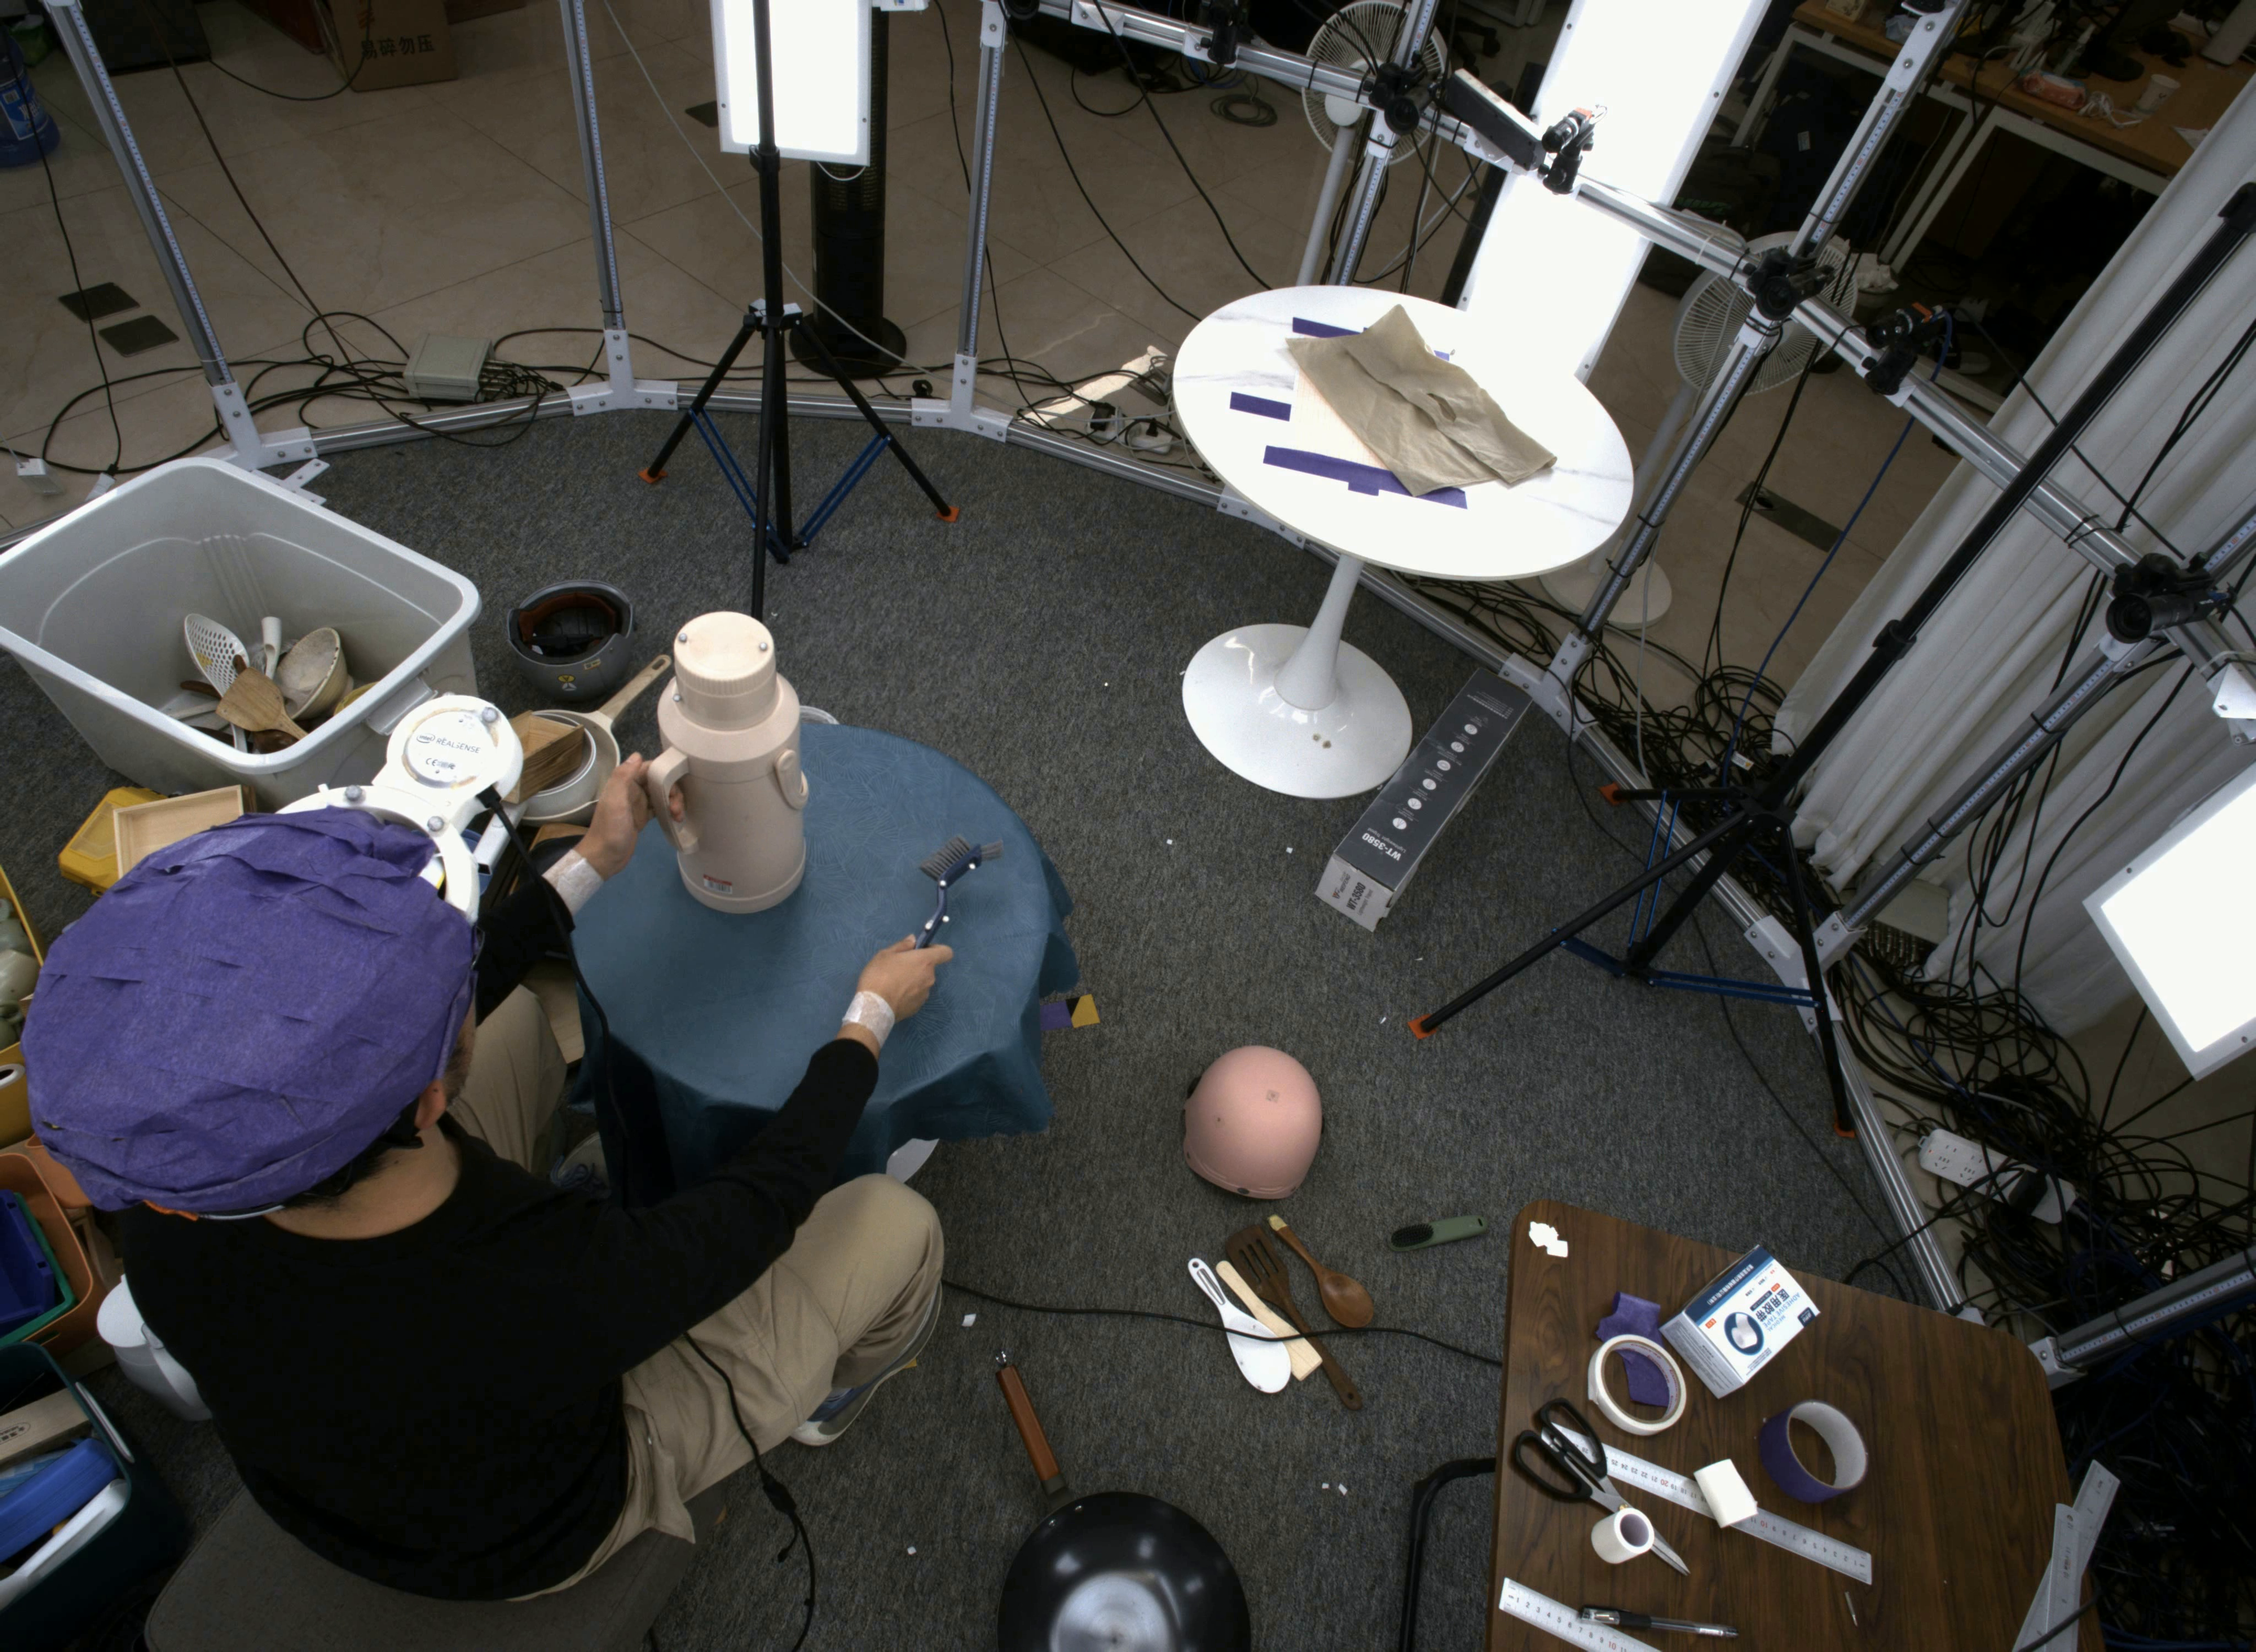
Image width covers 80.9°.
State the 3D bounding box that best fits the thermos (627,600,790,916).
[{"bbox_3d":[-0.491,-0.067,1.494,0.172,0.414,0.206,31,52,11],"label":"thermos"}]

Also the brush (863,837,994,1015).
[{"bbox_3d":[-0.247,0.117,1.594,0.095,0.034,0.270,17,53,0],"label":"brush"}]
